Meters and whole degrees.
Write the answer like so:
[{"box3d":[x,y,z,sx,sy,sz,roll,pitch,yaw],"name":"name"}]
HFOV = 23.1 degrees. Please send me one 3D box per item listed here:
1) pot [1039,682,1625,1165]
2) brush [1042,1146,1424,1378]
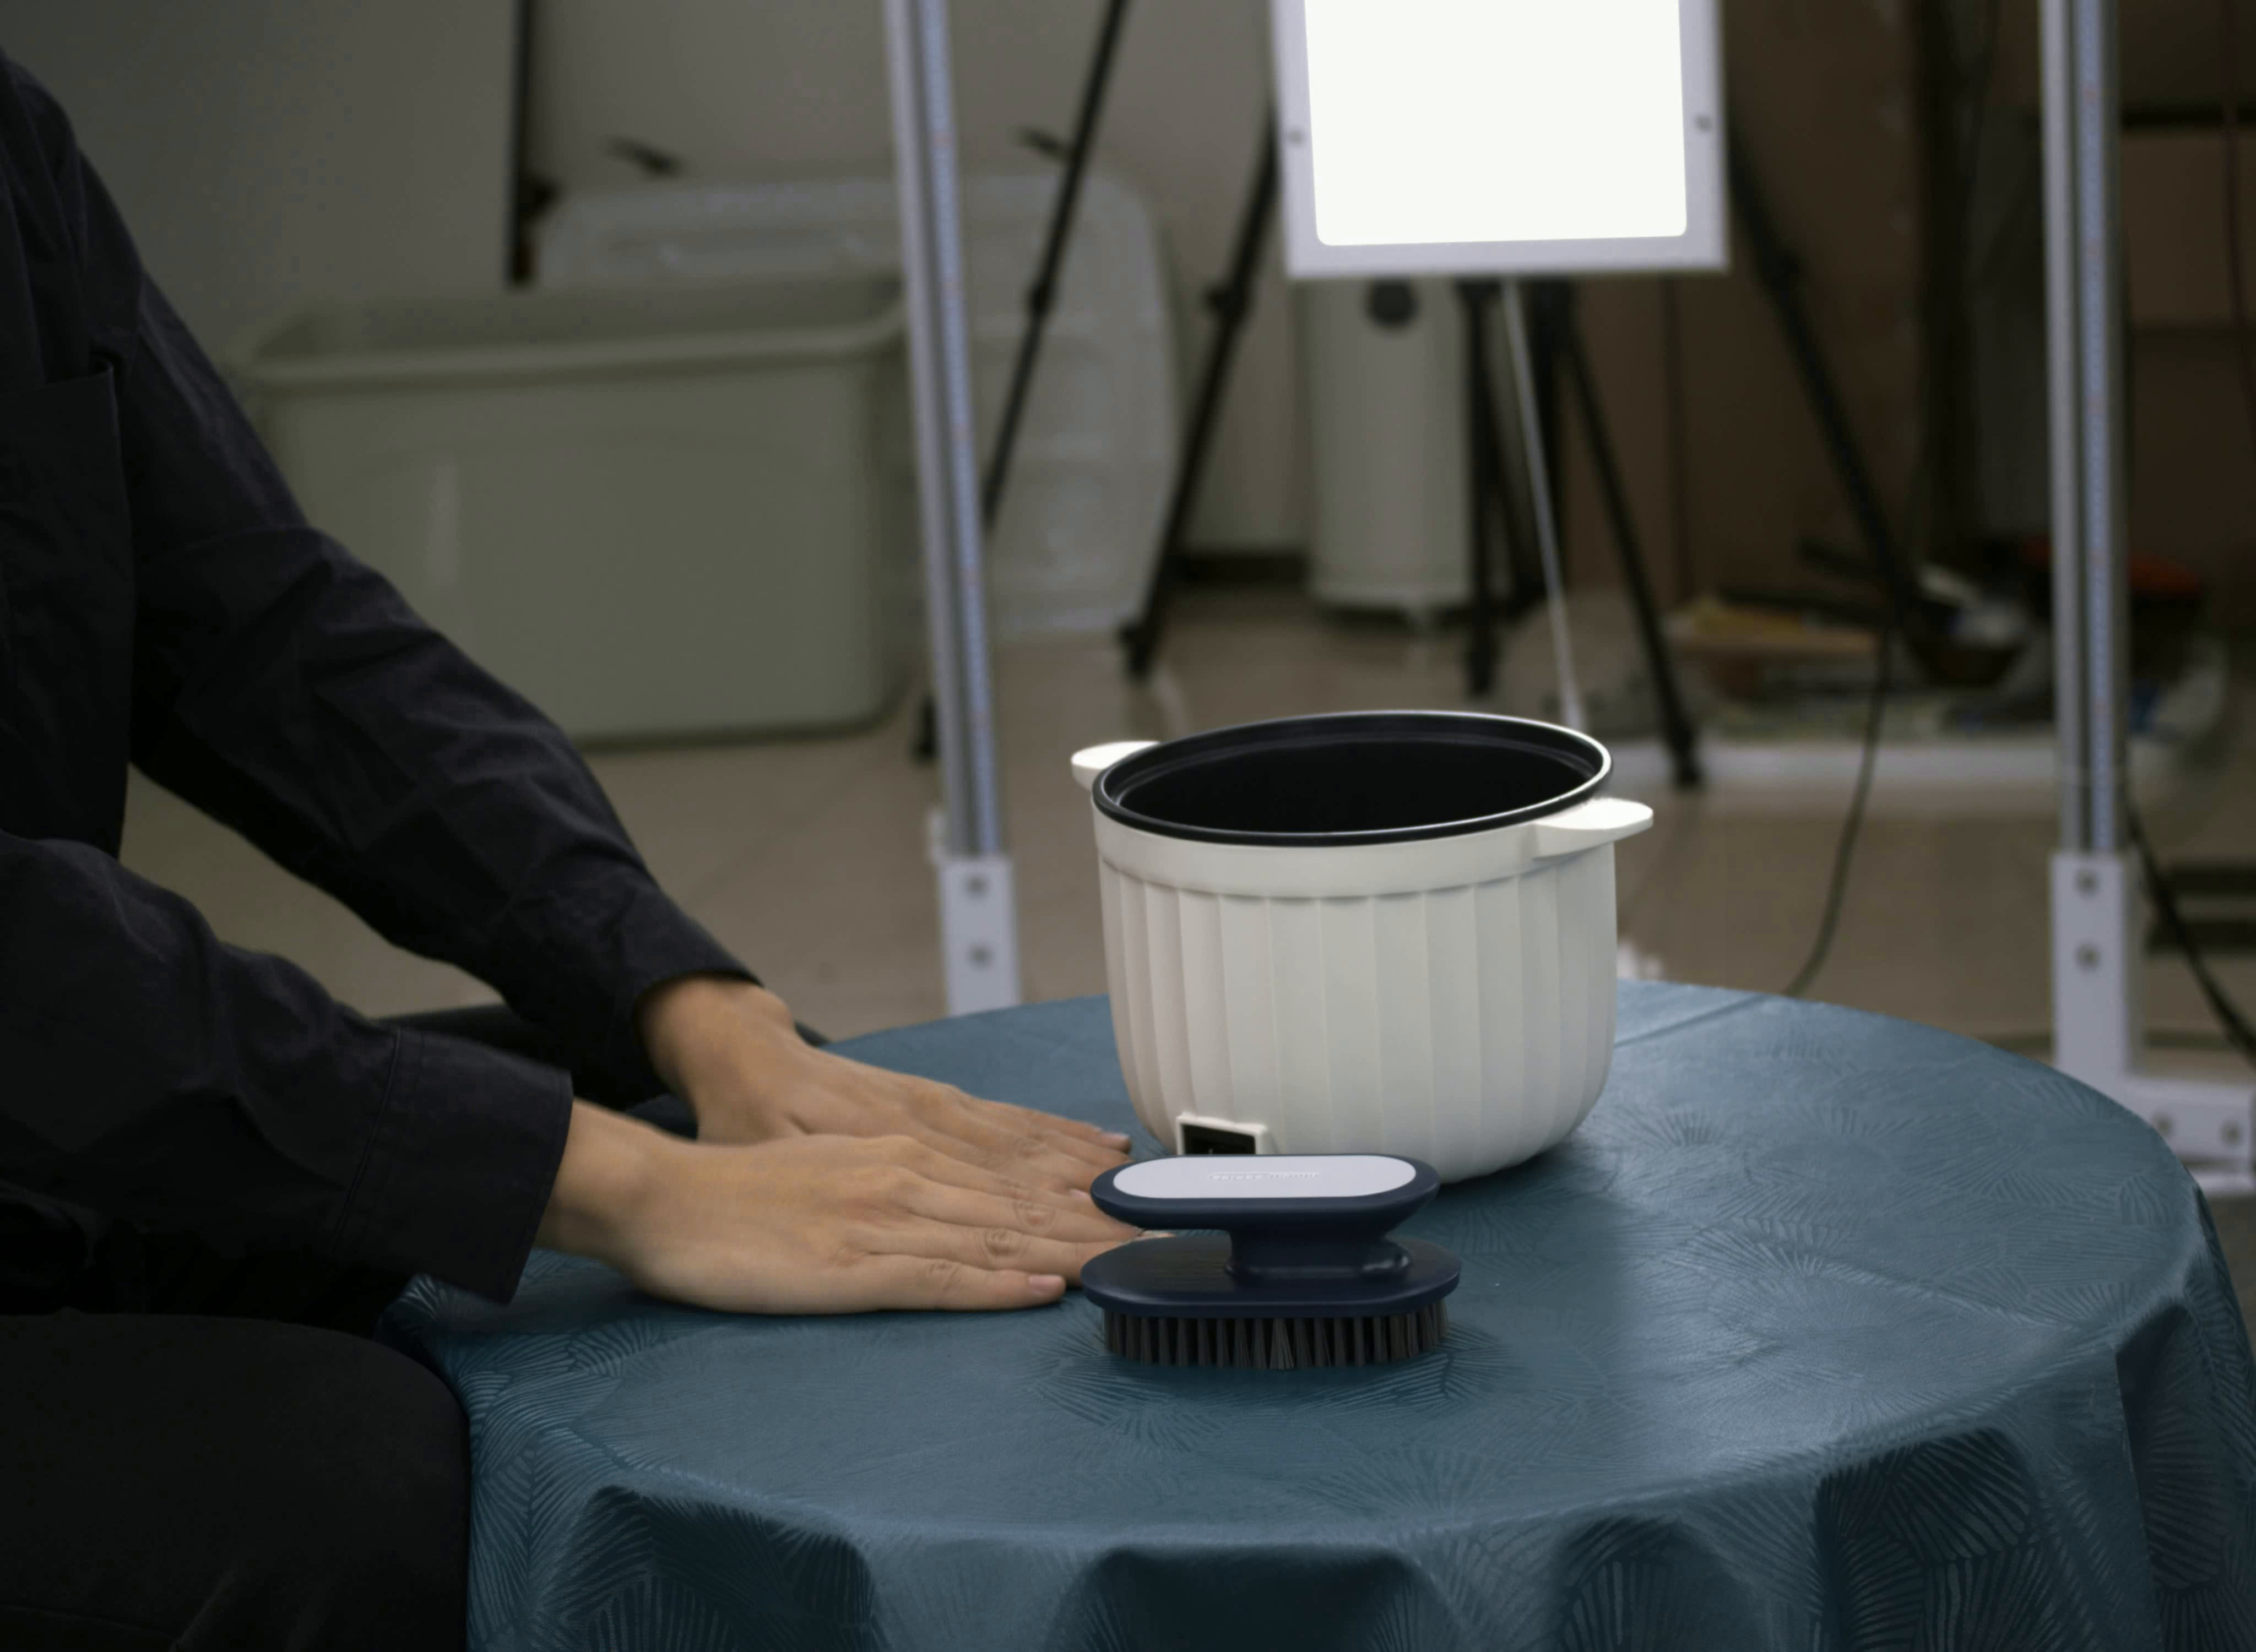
[{"box3d":[0.074,0.034,1.927,0.245,0.143,0.186,8,22,38],"name":"pot"},{"box3d":[0.033,0.138,1.729,0.123,0.061,0.067,3,19,15],"name":"brush"}]
